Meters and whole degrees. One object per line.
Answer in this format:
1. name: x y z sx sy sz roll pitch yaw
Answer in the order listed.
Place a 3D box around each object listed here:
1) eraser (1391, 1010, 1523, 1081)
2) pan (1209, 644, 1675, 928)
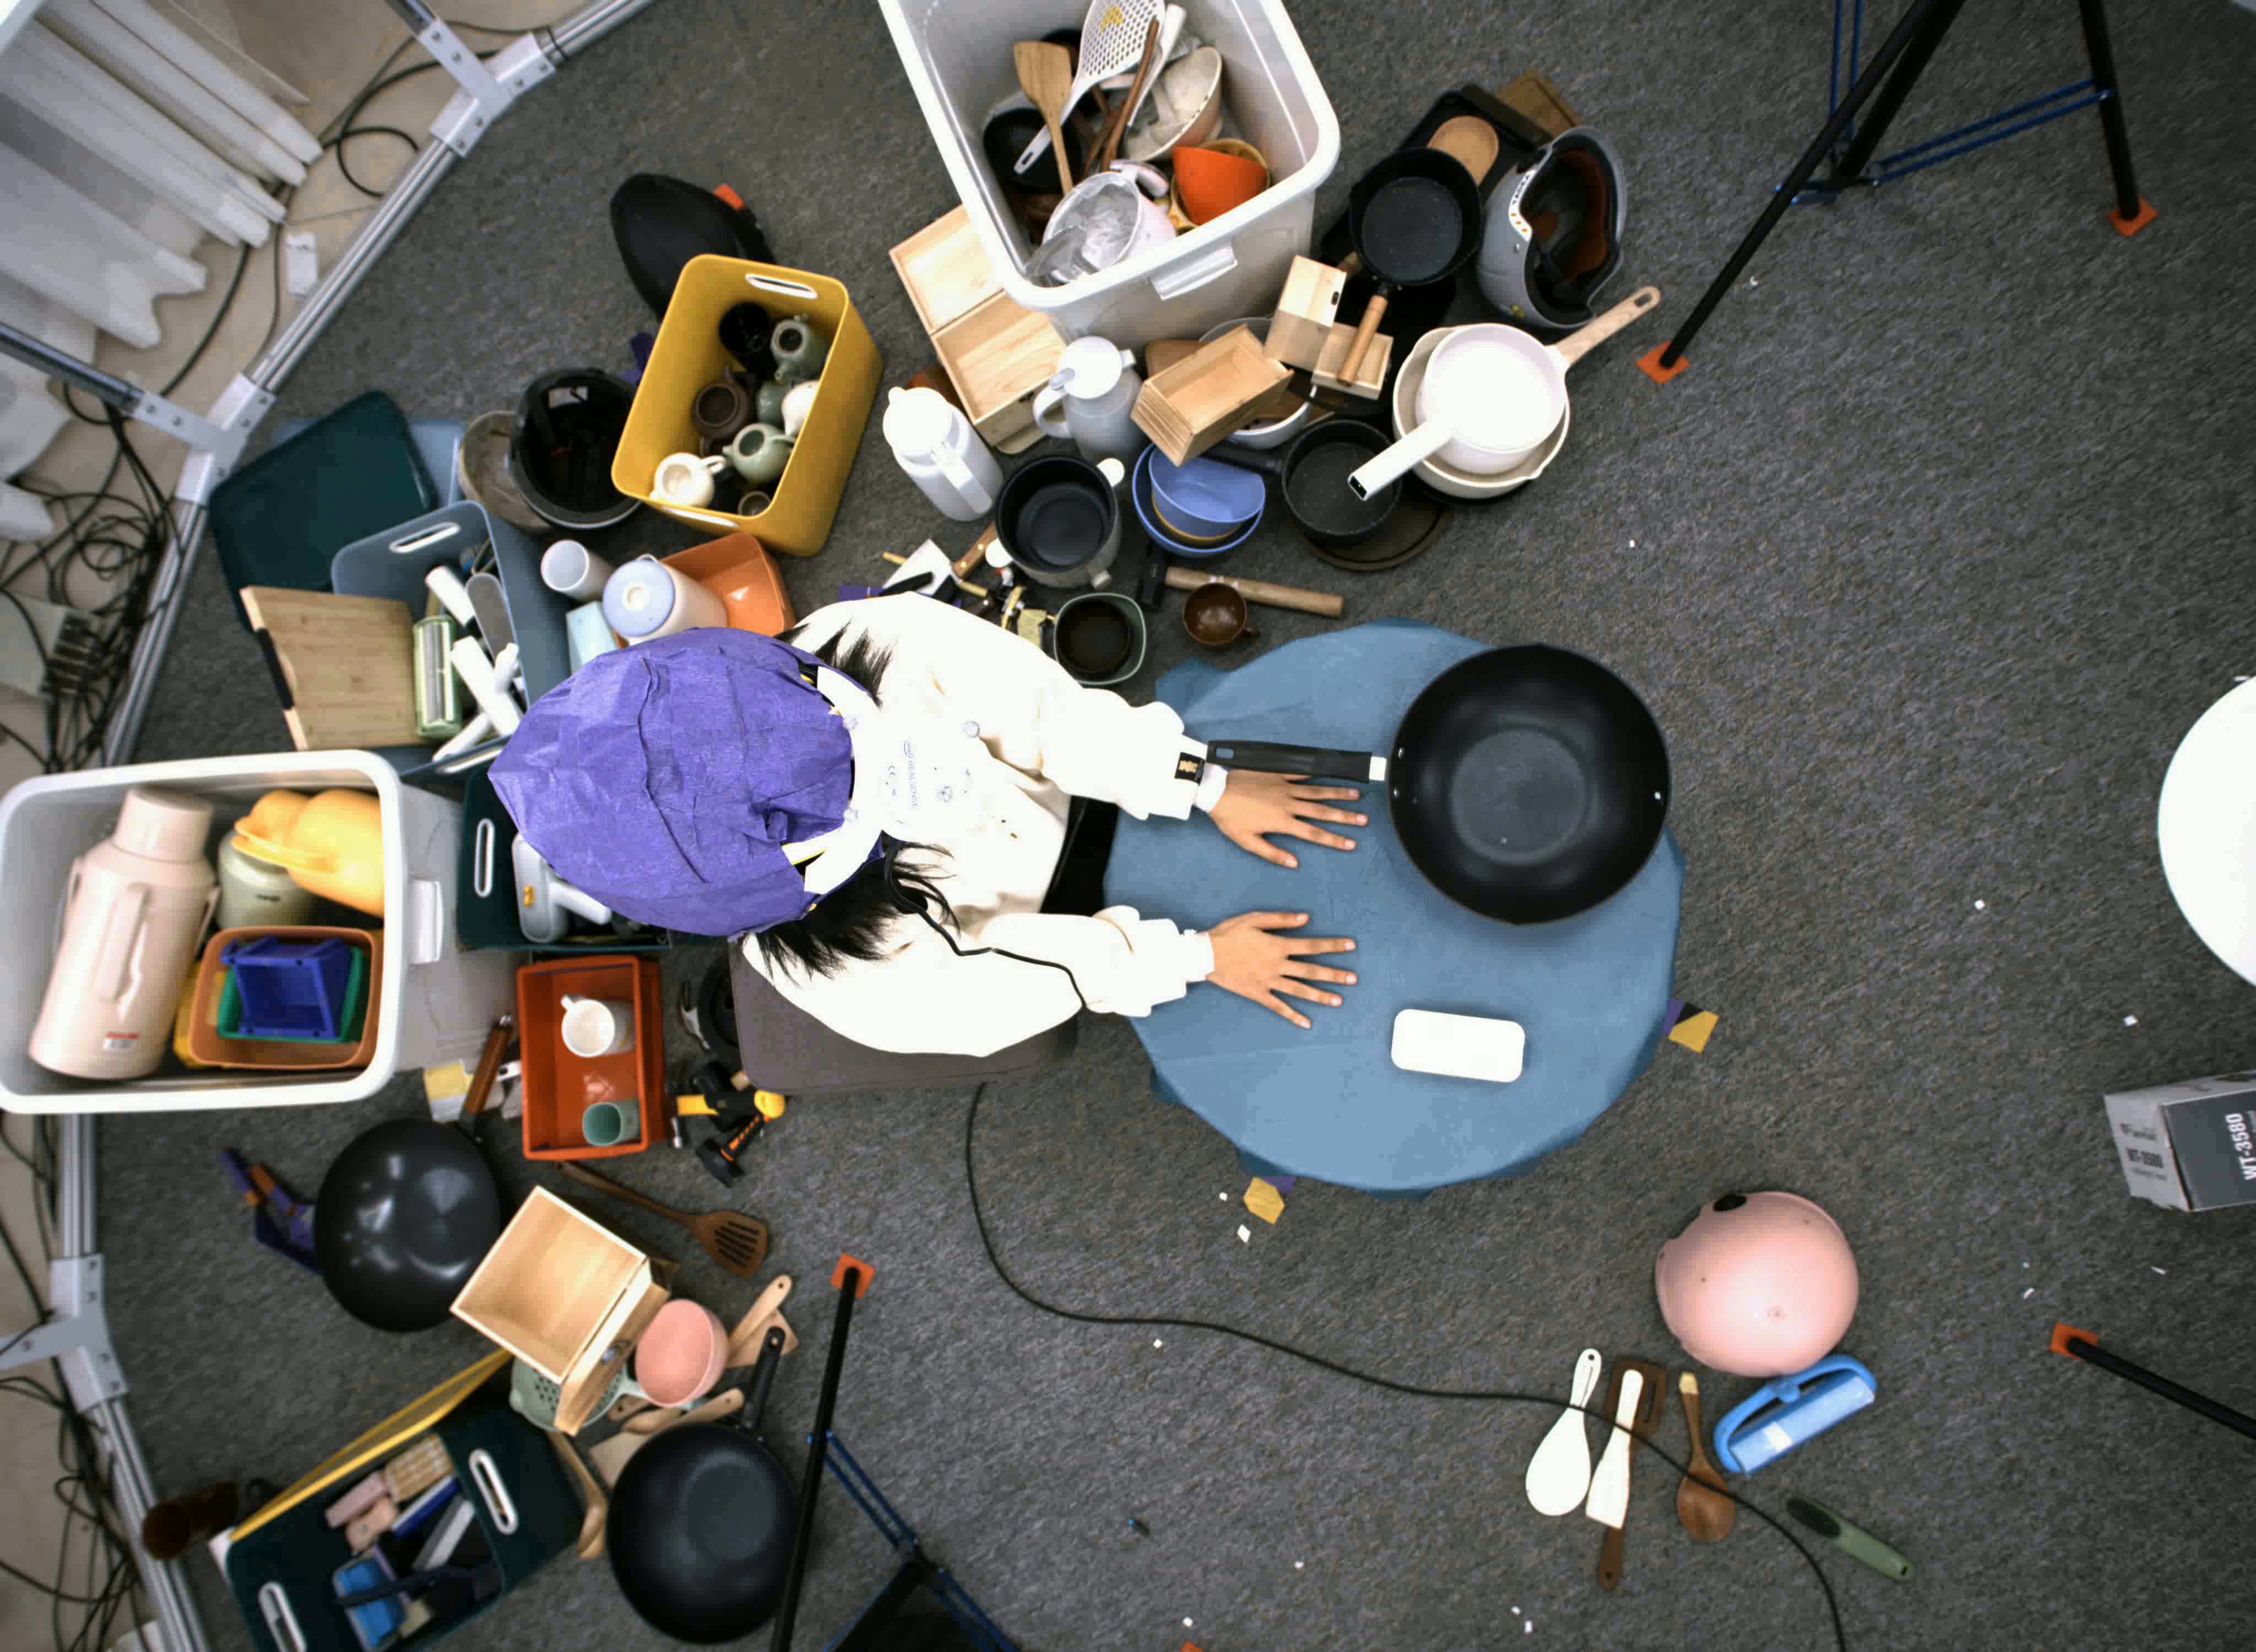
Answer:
1. eraser: 0.339 0.223 1.424 0.131 0.034 0.063 6 84 10
2. pan: 0.315 -0.050 1.417 0.464 0.087 0.287 7 87 12
